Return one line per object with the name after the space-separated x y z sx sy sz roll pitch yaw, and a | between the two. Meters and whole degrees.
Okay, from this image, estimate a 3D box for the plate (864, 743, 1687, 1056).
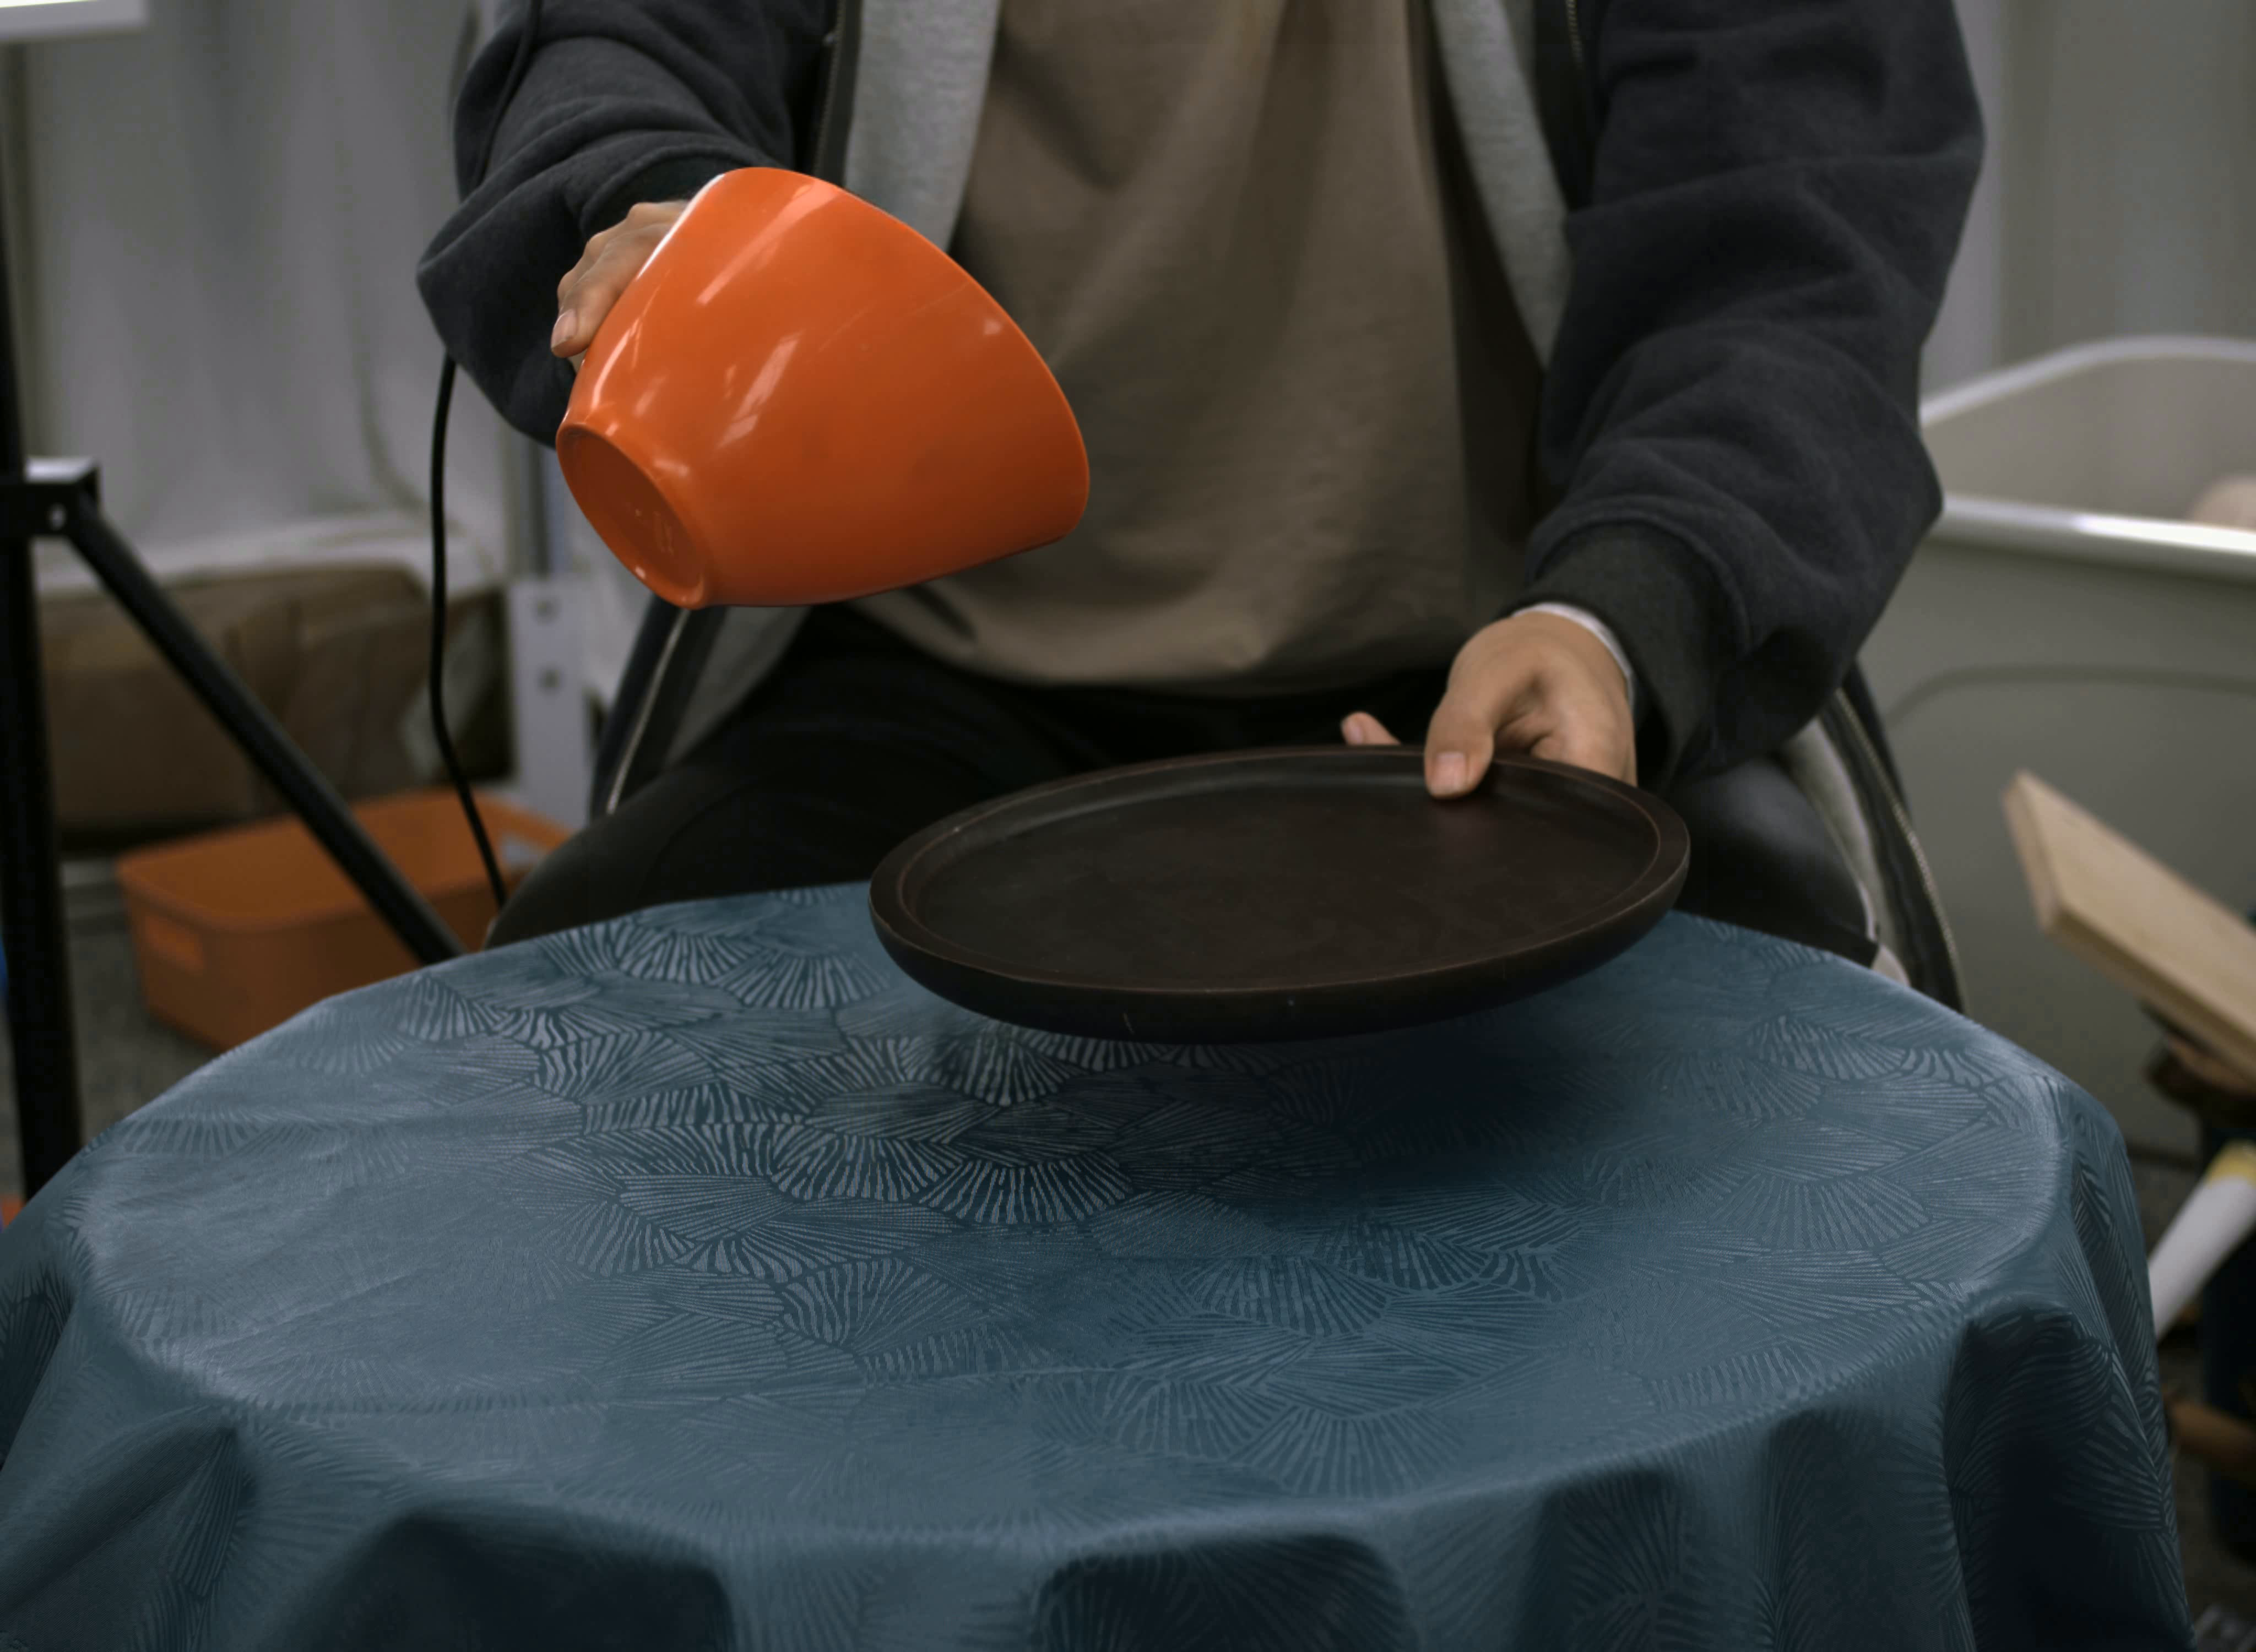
0.046 0.020 1.630 0.254 0.029 0.256 -6 16 0 | plate

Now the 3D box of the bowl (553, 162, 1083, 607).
-0.101 -0.114 1.566 0.103 0.146 0.151 -39 30 -19 | bowl
